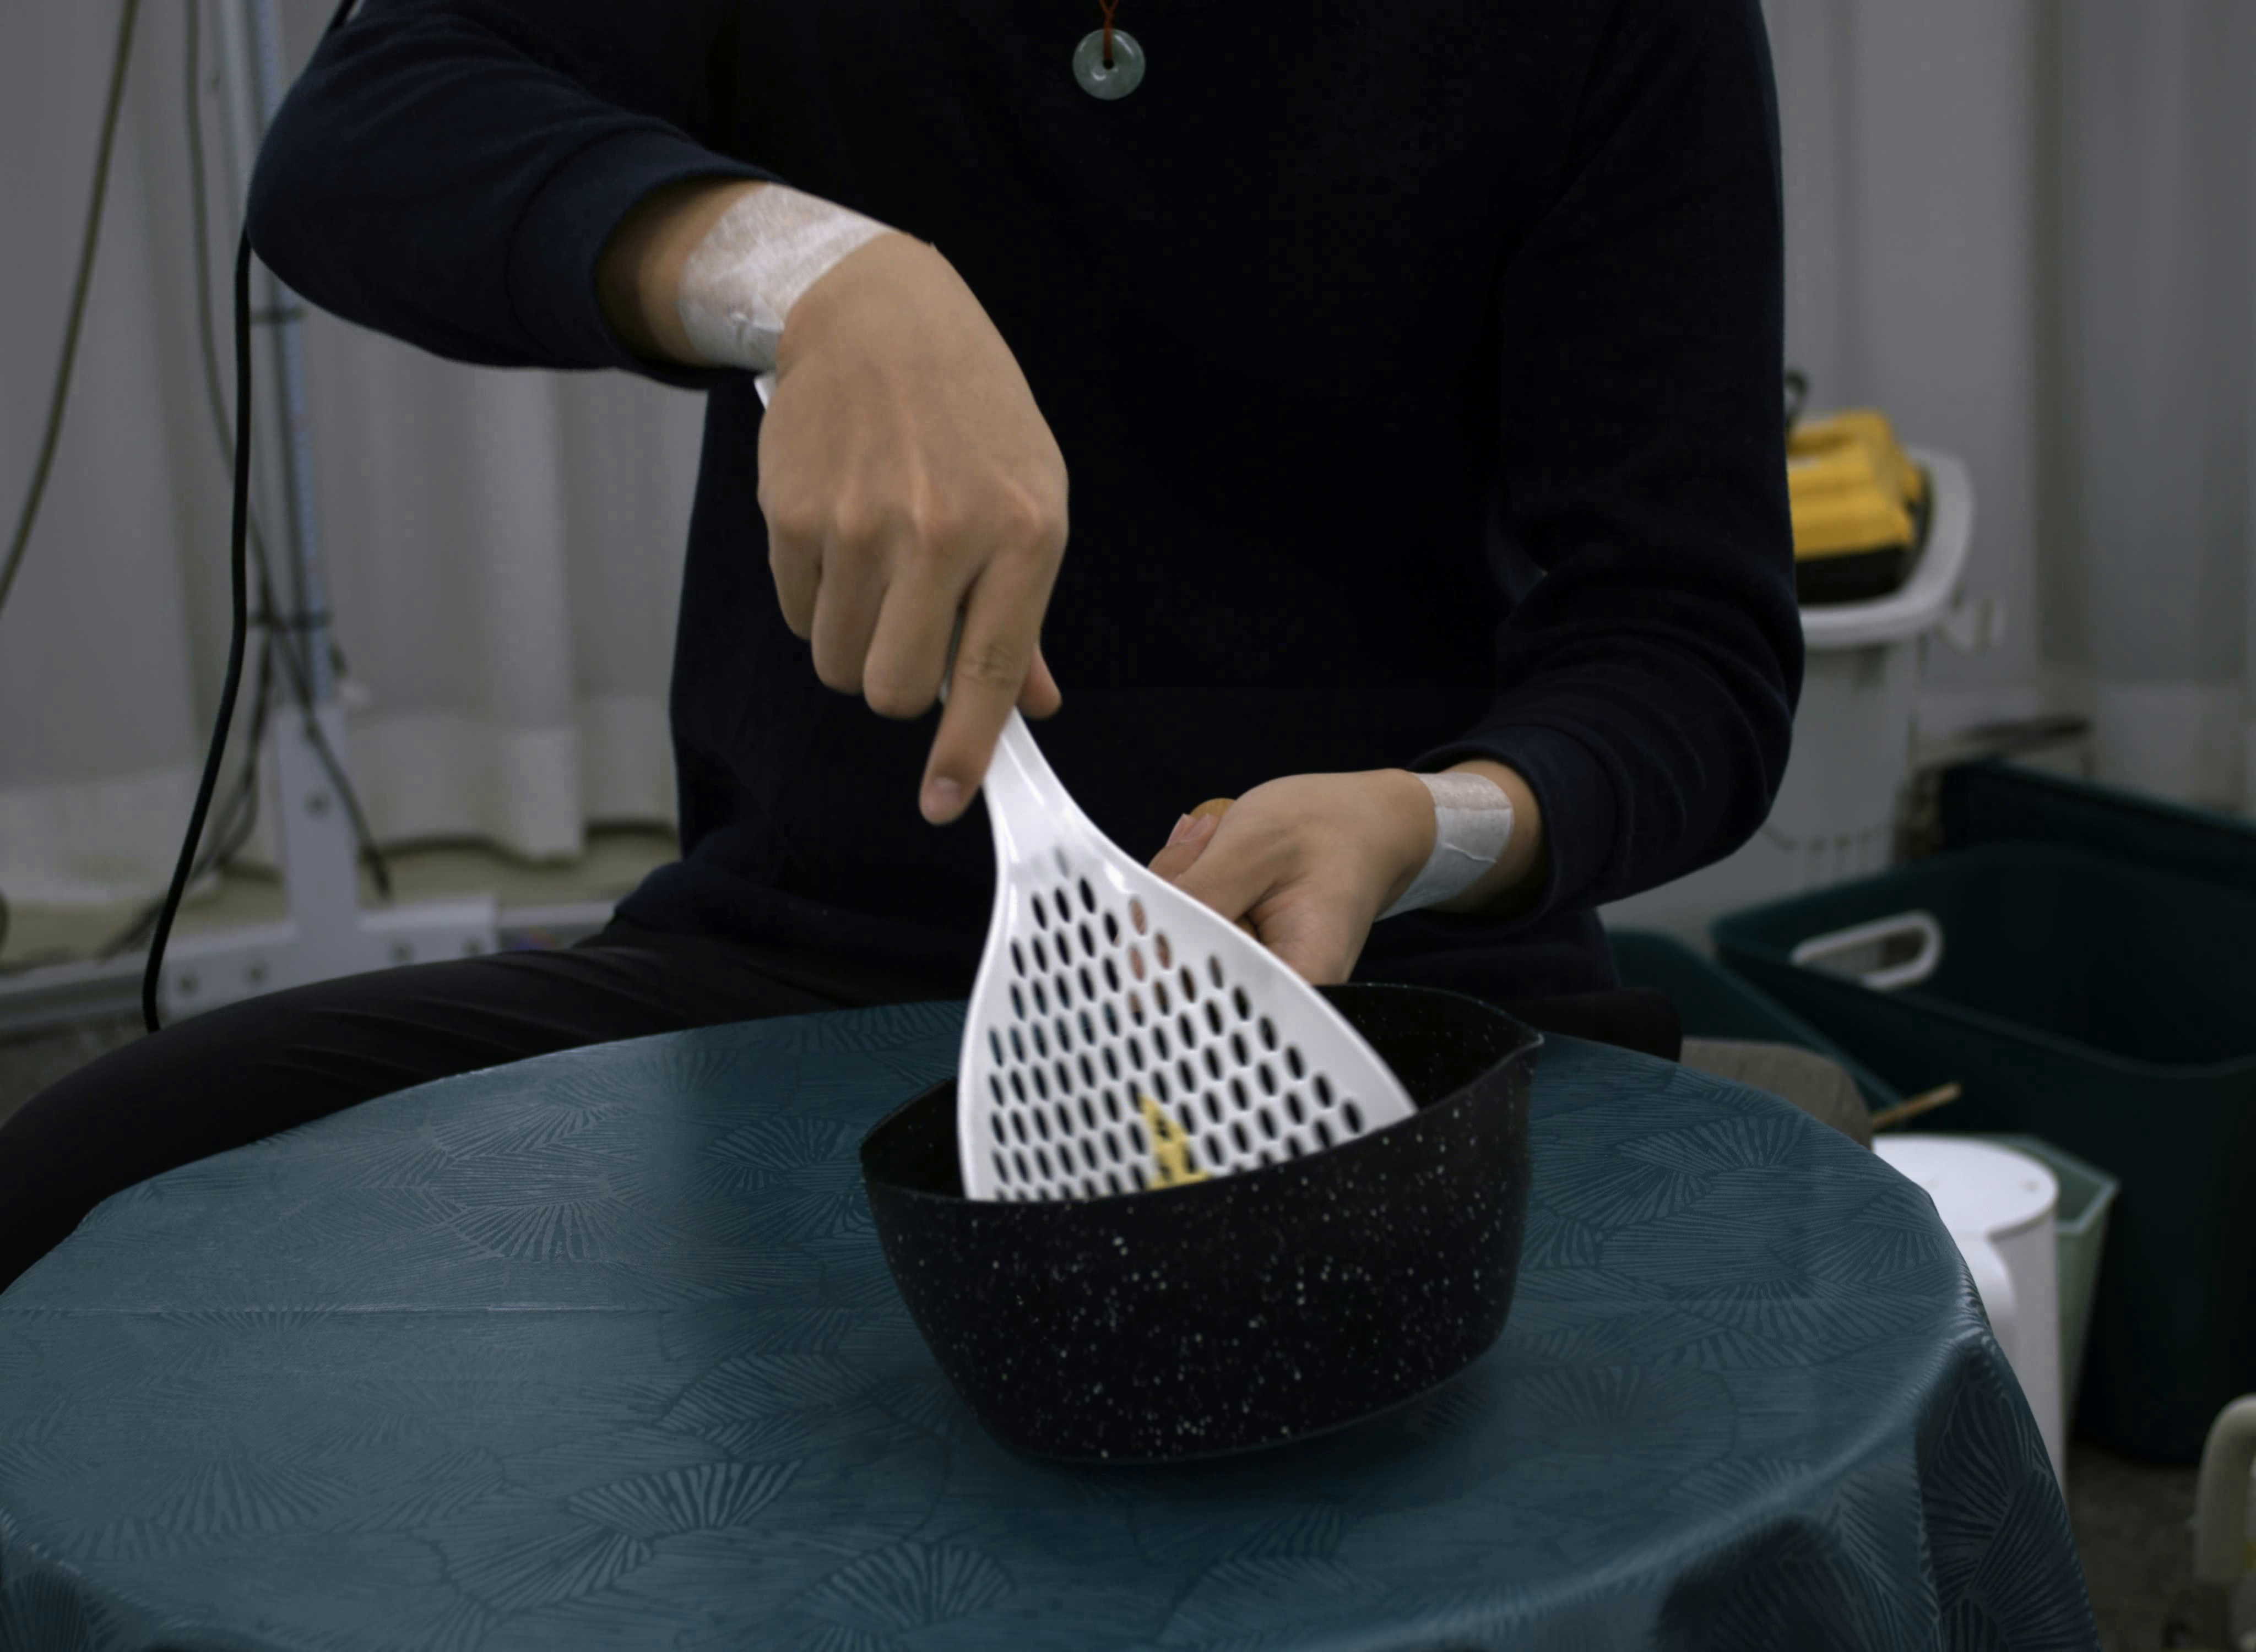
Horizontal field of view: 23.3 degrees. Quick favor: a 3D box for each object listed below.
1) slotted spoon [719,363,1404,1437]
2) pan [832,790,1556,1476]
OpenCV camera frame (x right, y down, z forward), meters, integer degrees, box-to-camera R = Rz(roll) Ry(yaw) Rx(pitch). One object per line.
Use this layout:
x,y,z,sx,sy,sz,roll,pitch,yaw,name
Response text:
-0.029,0.011,1.538,0.136,0.351,0.050,-19,-14,-22,slotted spoon
0.026,0.083,1.598,0.207,0.108,0.345,-11,14,5,pan
